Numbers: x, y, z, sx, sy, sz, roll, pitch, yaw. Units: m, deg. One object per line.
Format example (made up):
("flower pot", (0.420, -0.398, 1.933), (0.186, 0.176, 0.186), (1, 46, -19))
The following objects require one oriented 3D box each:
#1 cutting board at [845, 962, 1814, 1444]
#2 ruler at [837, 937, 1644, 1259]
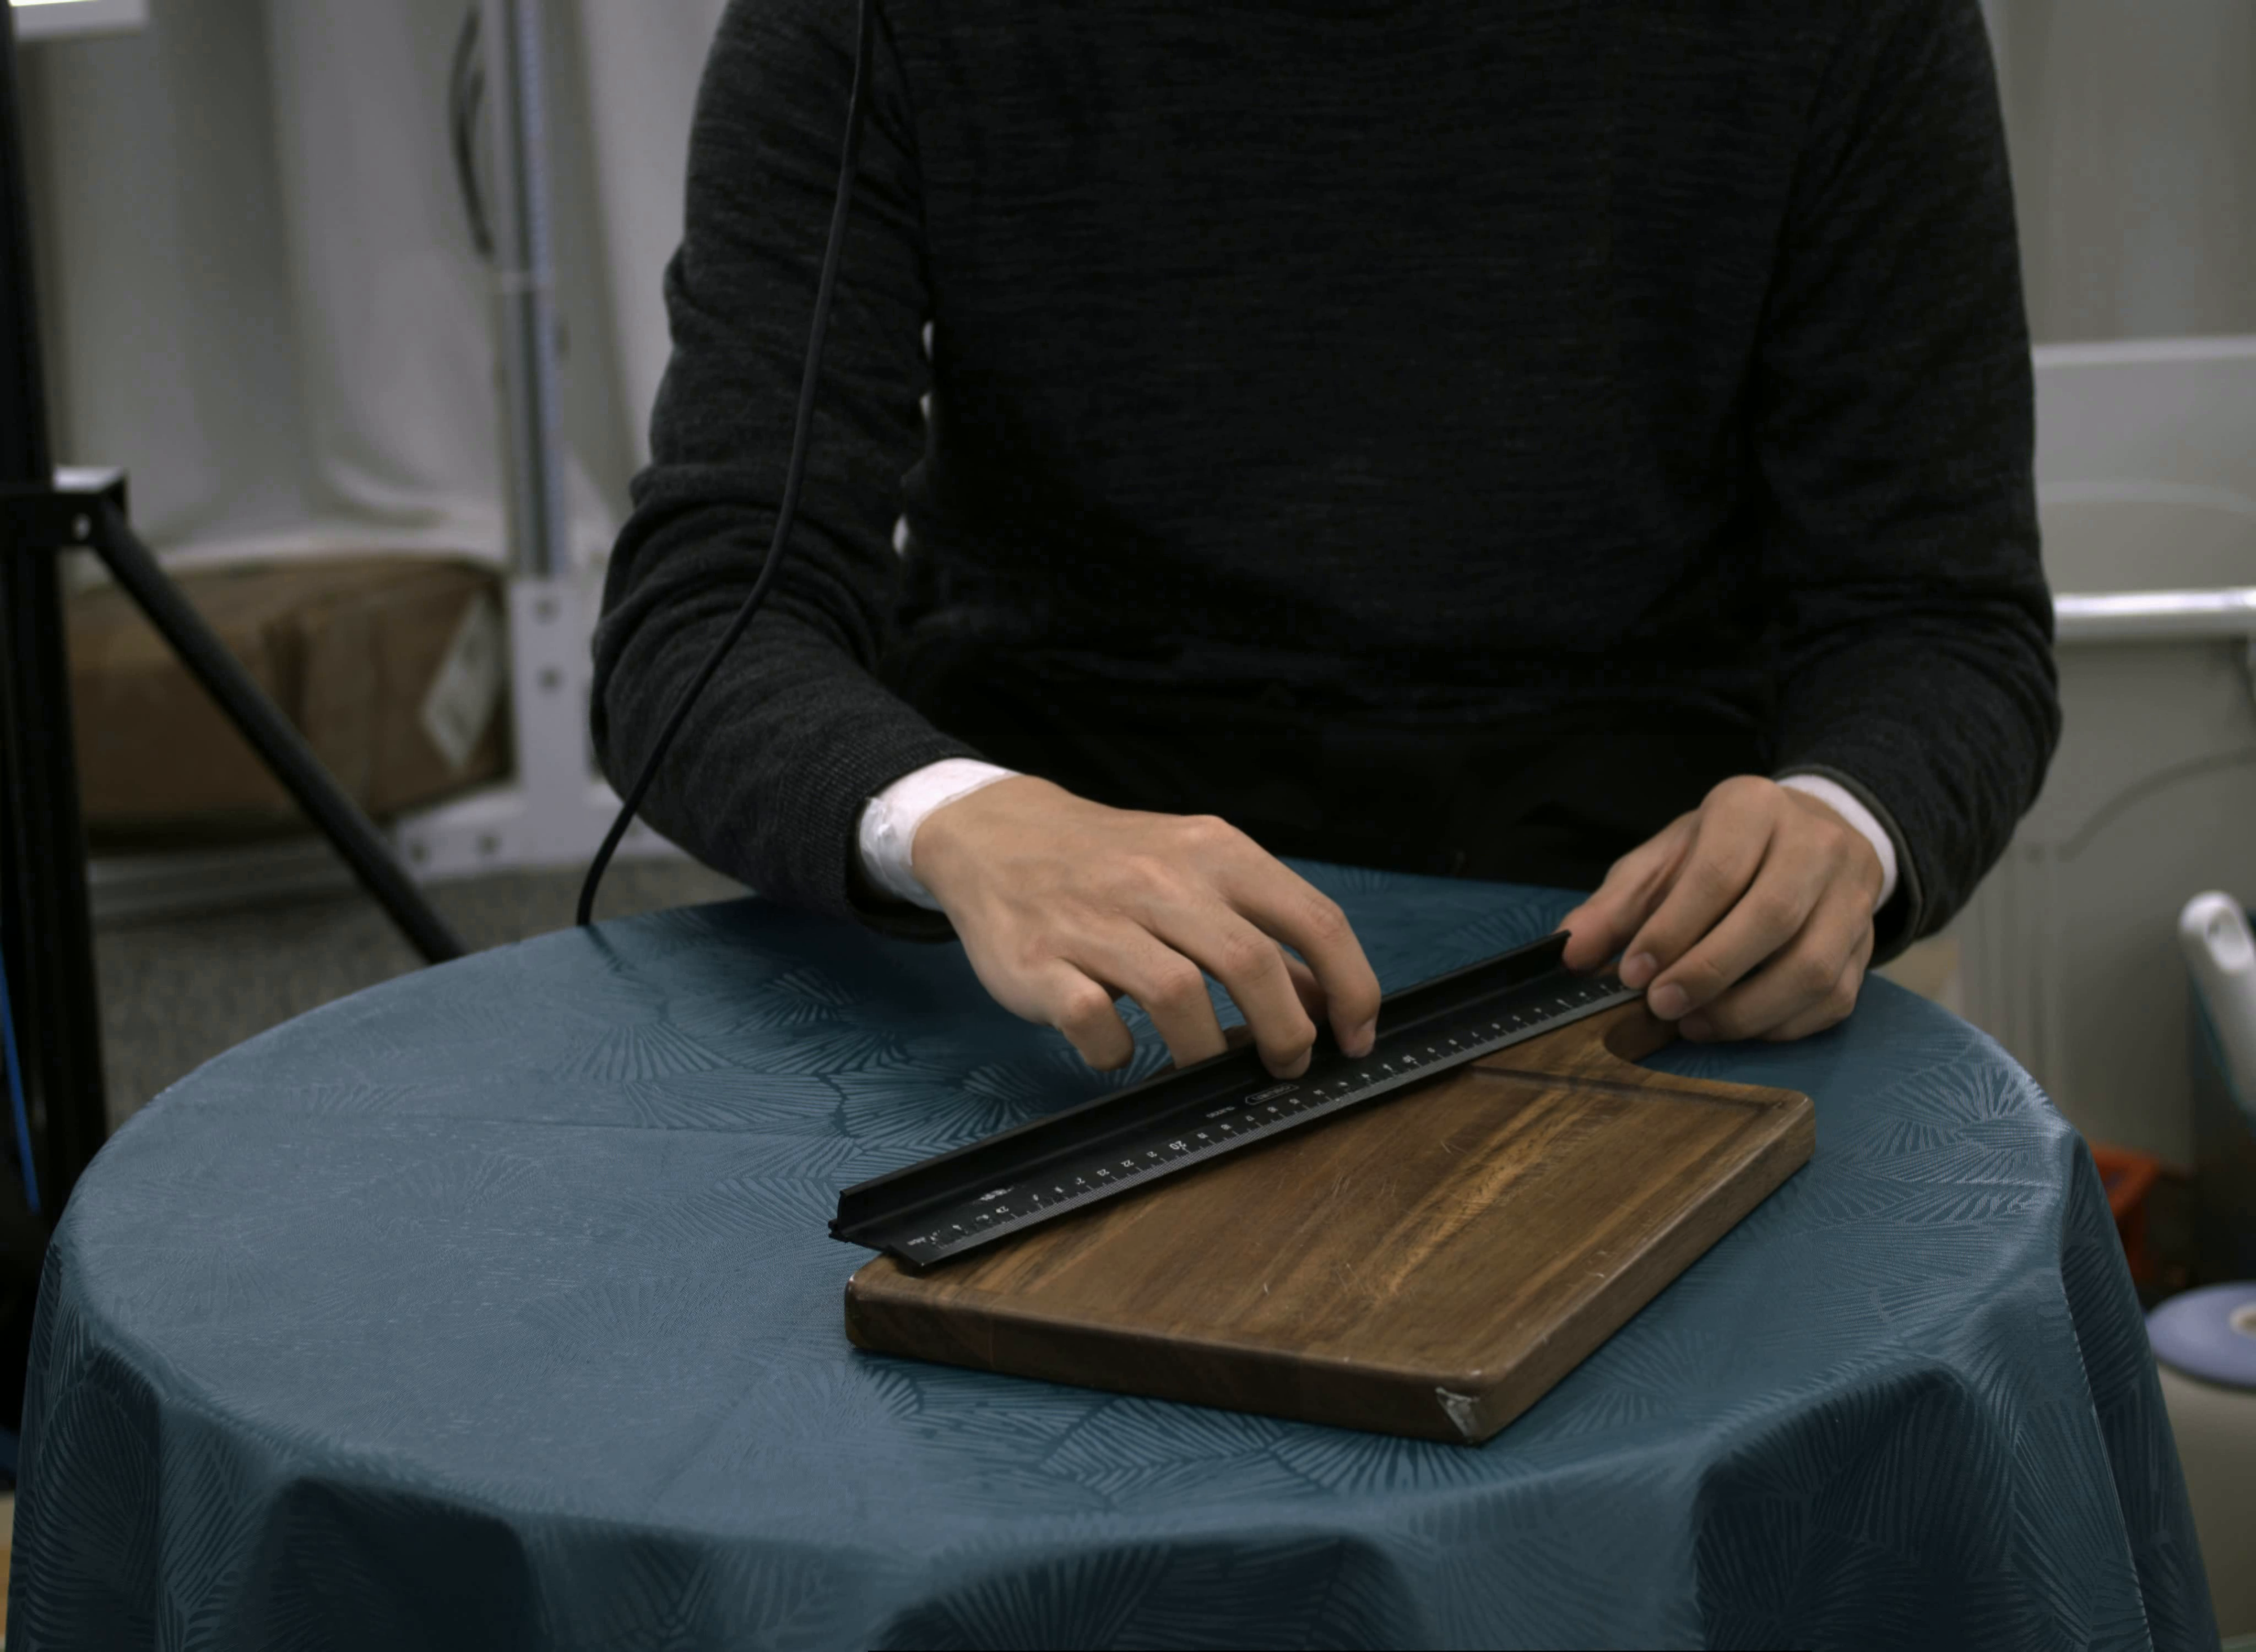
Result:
("cutting board", (0.085, 0.098, 1.541), (0.204, 0.023, 0.346), (6, 17, 27))
("ruler", (0.040, 0.077, 1.559), (0.305, 0.017, 0.040), (-17, 23, -41))
